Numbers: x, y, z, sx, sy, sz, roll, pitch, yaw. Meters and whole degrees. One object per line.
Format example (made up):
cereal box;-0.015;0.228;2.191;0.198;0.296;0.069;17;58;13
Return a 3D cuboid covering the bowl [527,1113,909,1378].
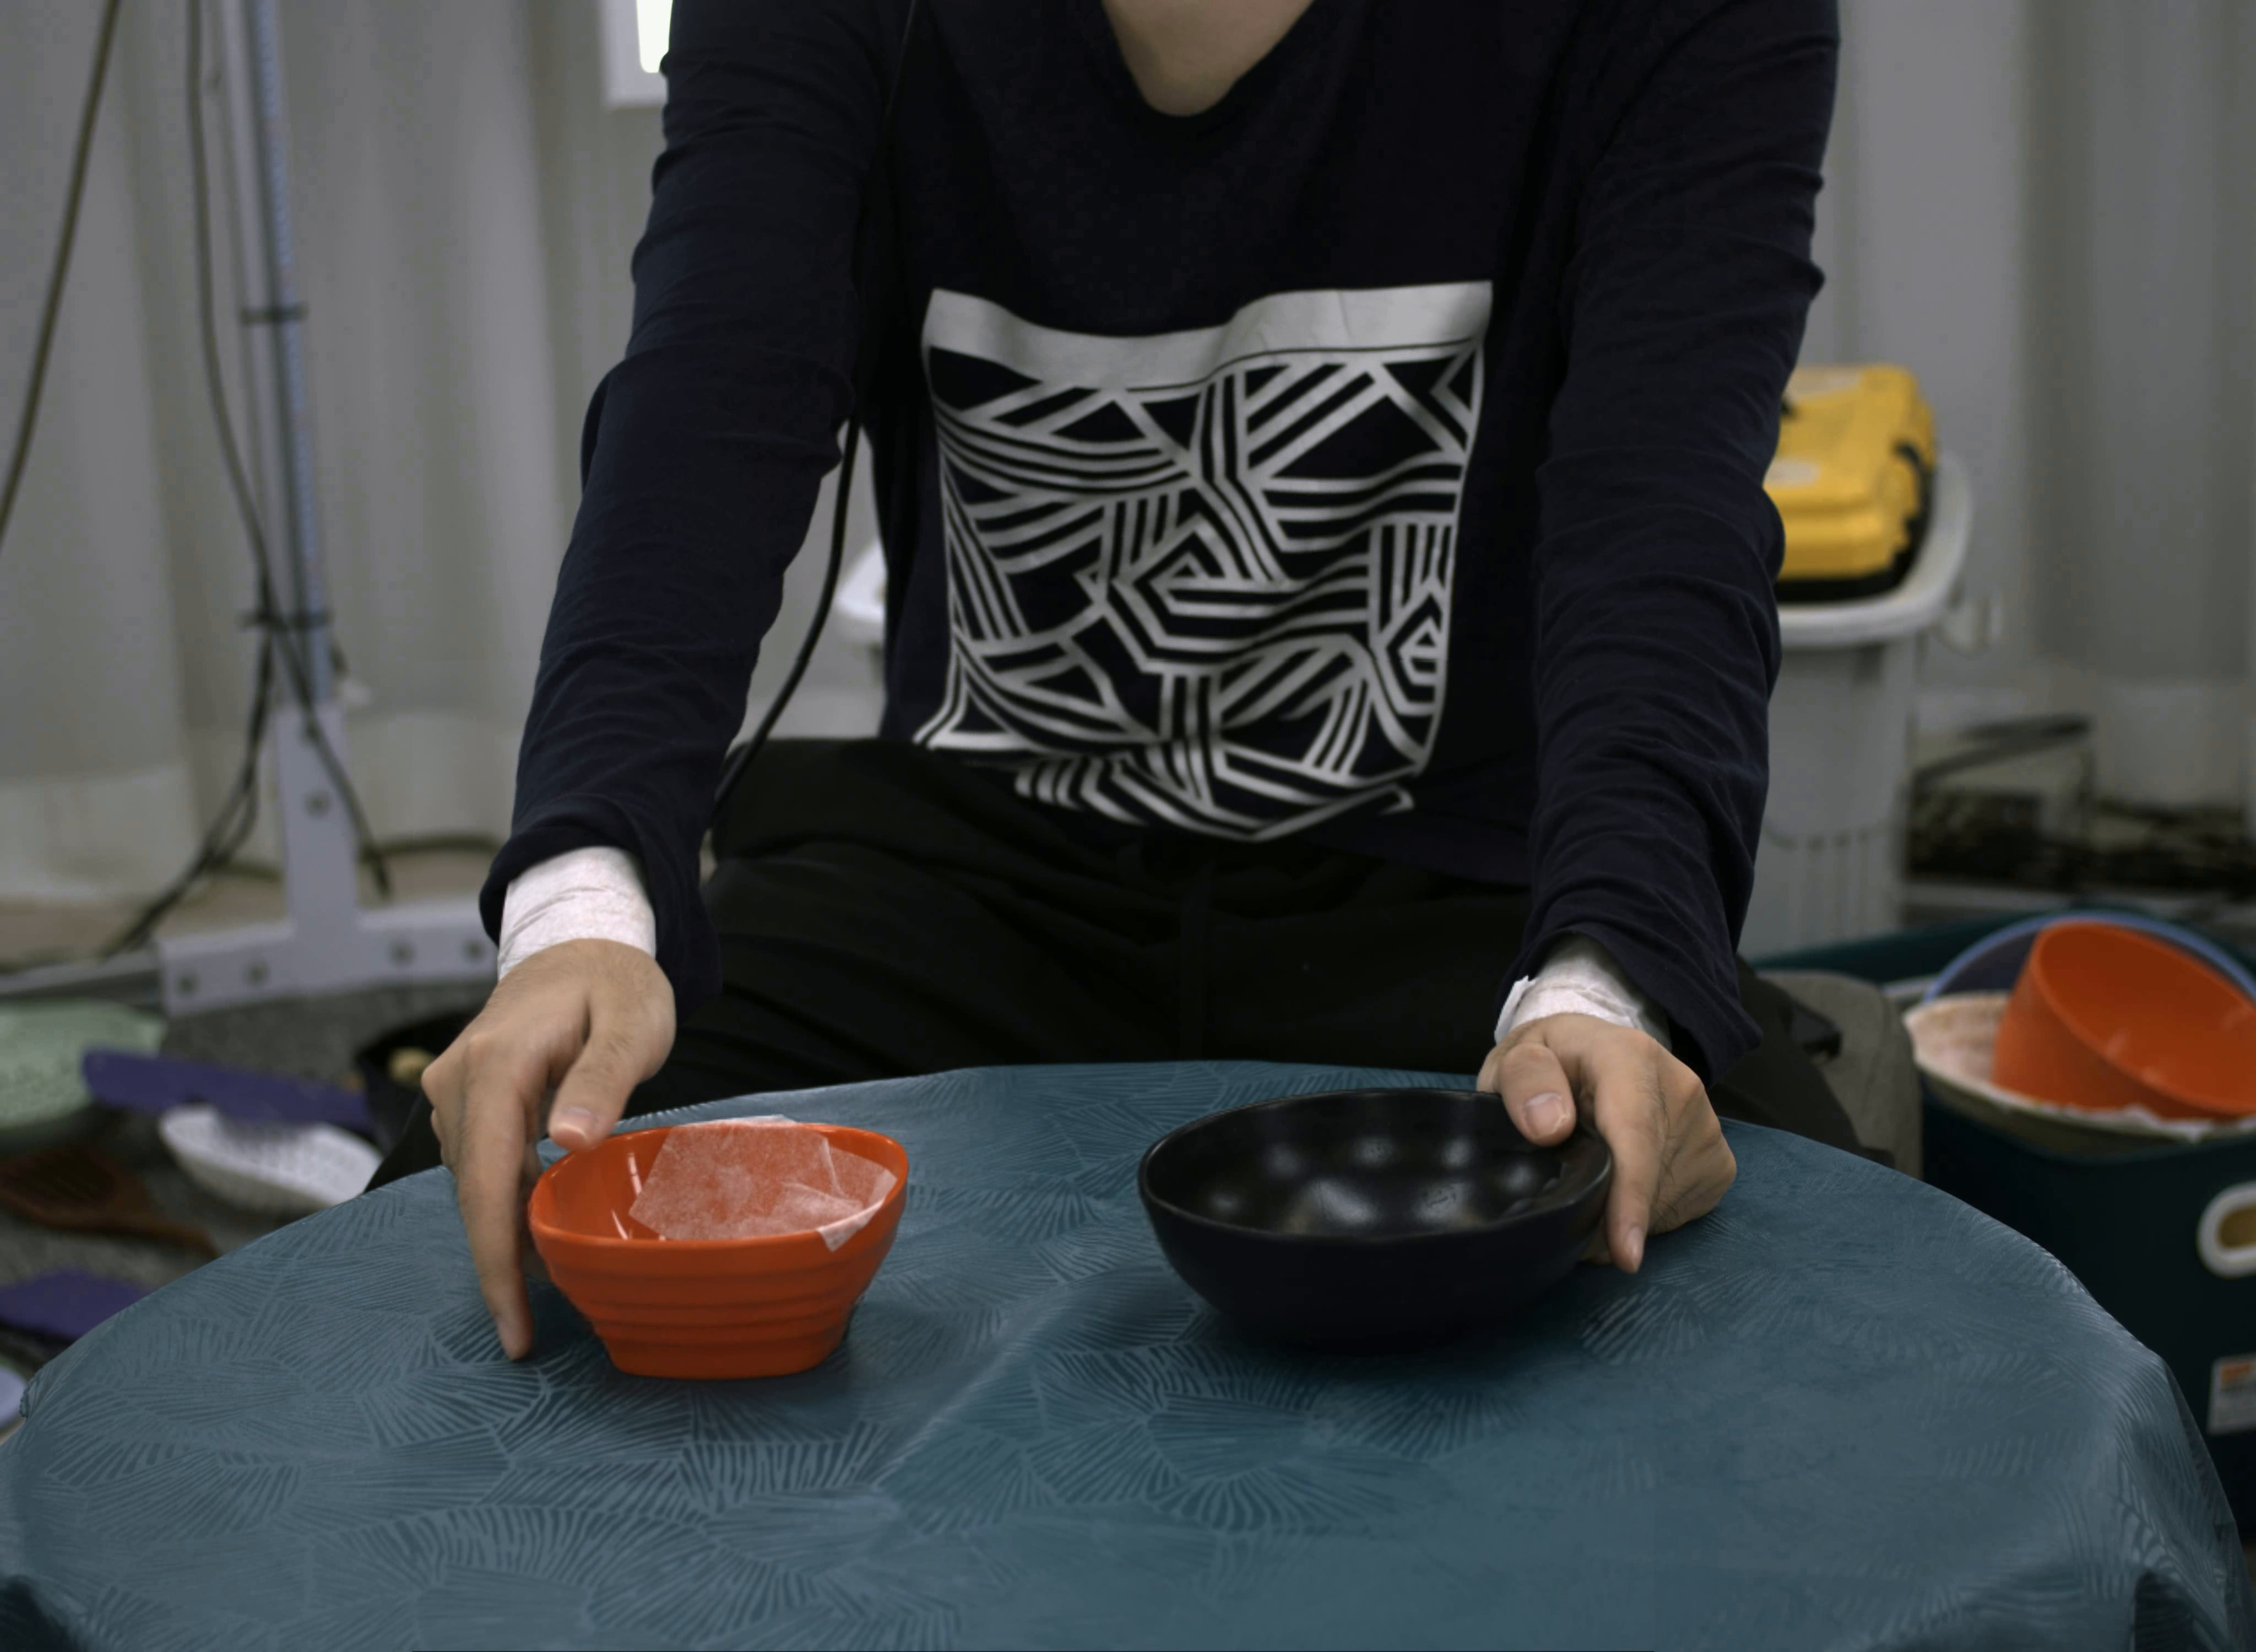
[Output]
bowl;-0.117;0.125;1.597;0.118;0.051;0.120;-4;16;1

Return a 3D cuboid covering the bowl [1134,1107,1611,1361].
bowl;0.072;0.122;1.590;0.139;0.049;0.141;-2;11;0
